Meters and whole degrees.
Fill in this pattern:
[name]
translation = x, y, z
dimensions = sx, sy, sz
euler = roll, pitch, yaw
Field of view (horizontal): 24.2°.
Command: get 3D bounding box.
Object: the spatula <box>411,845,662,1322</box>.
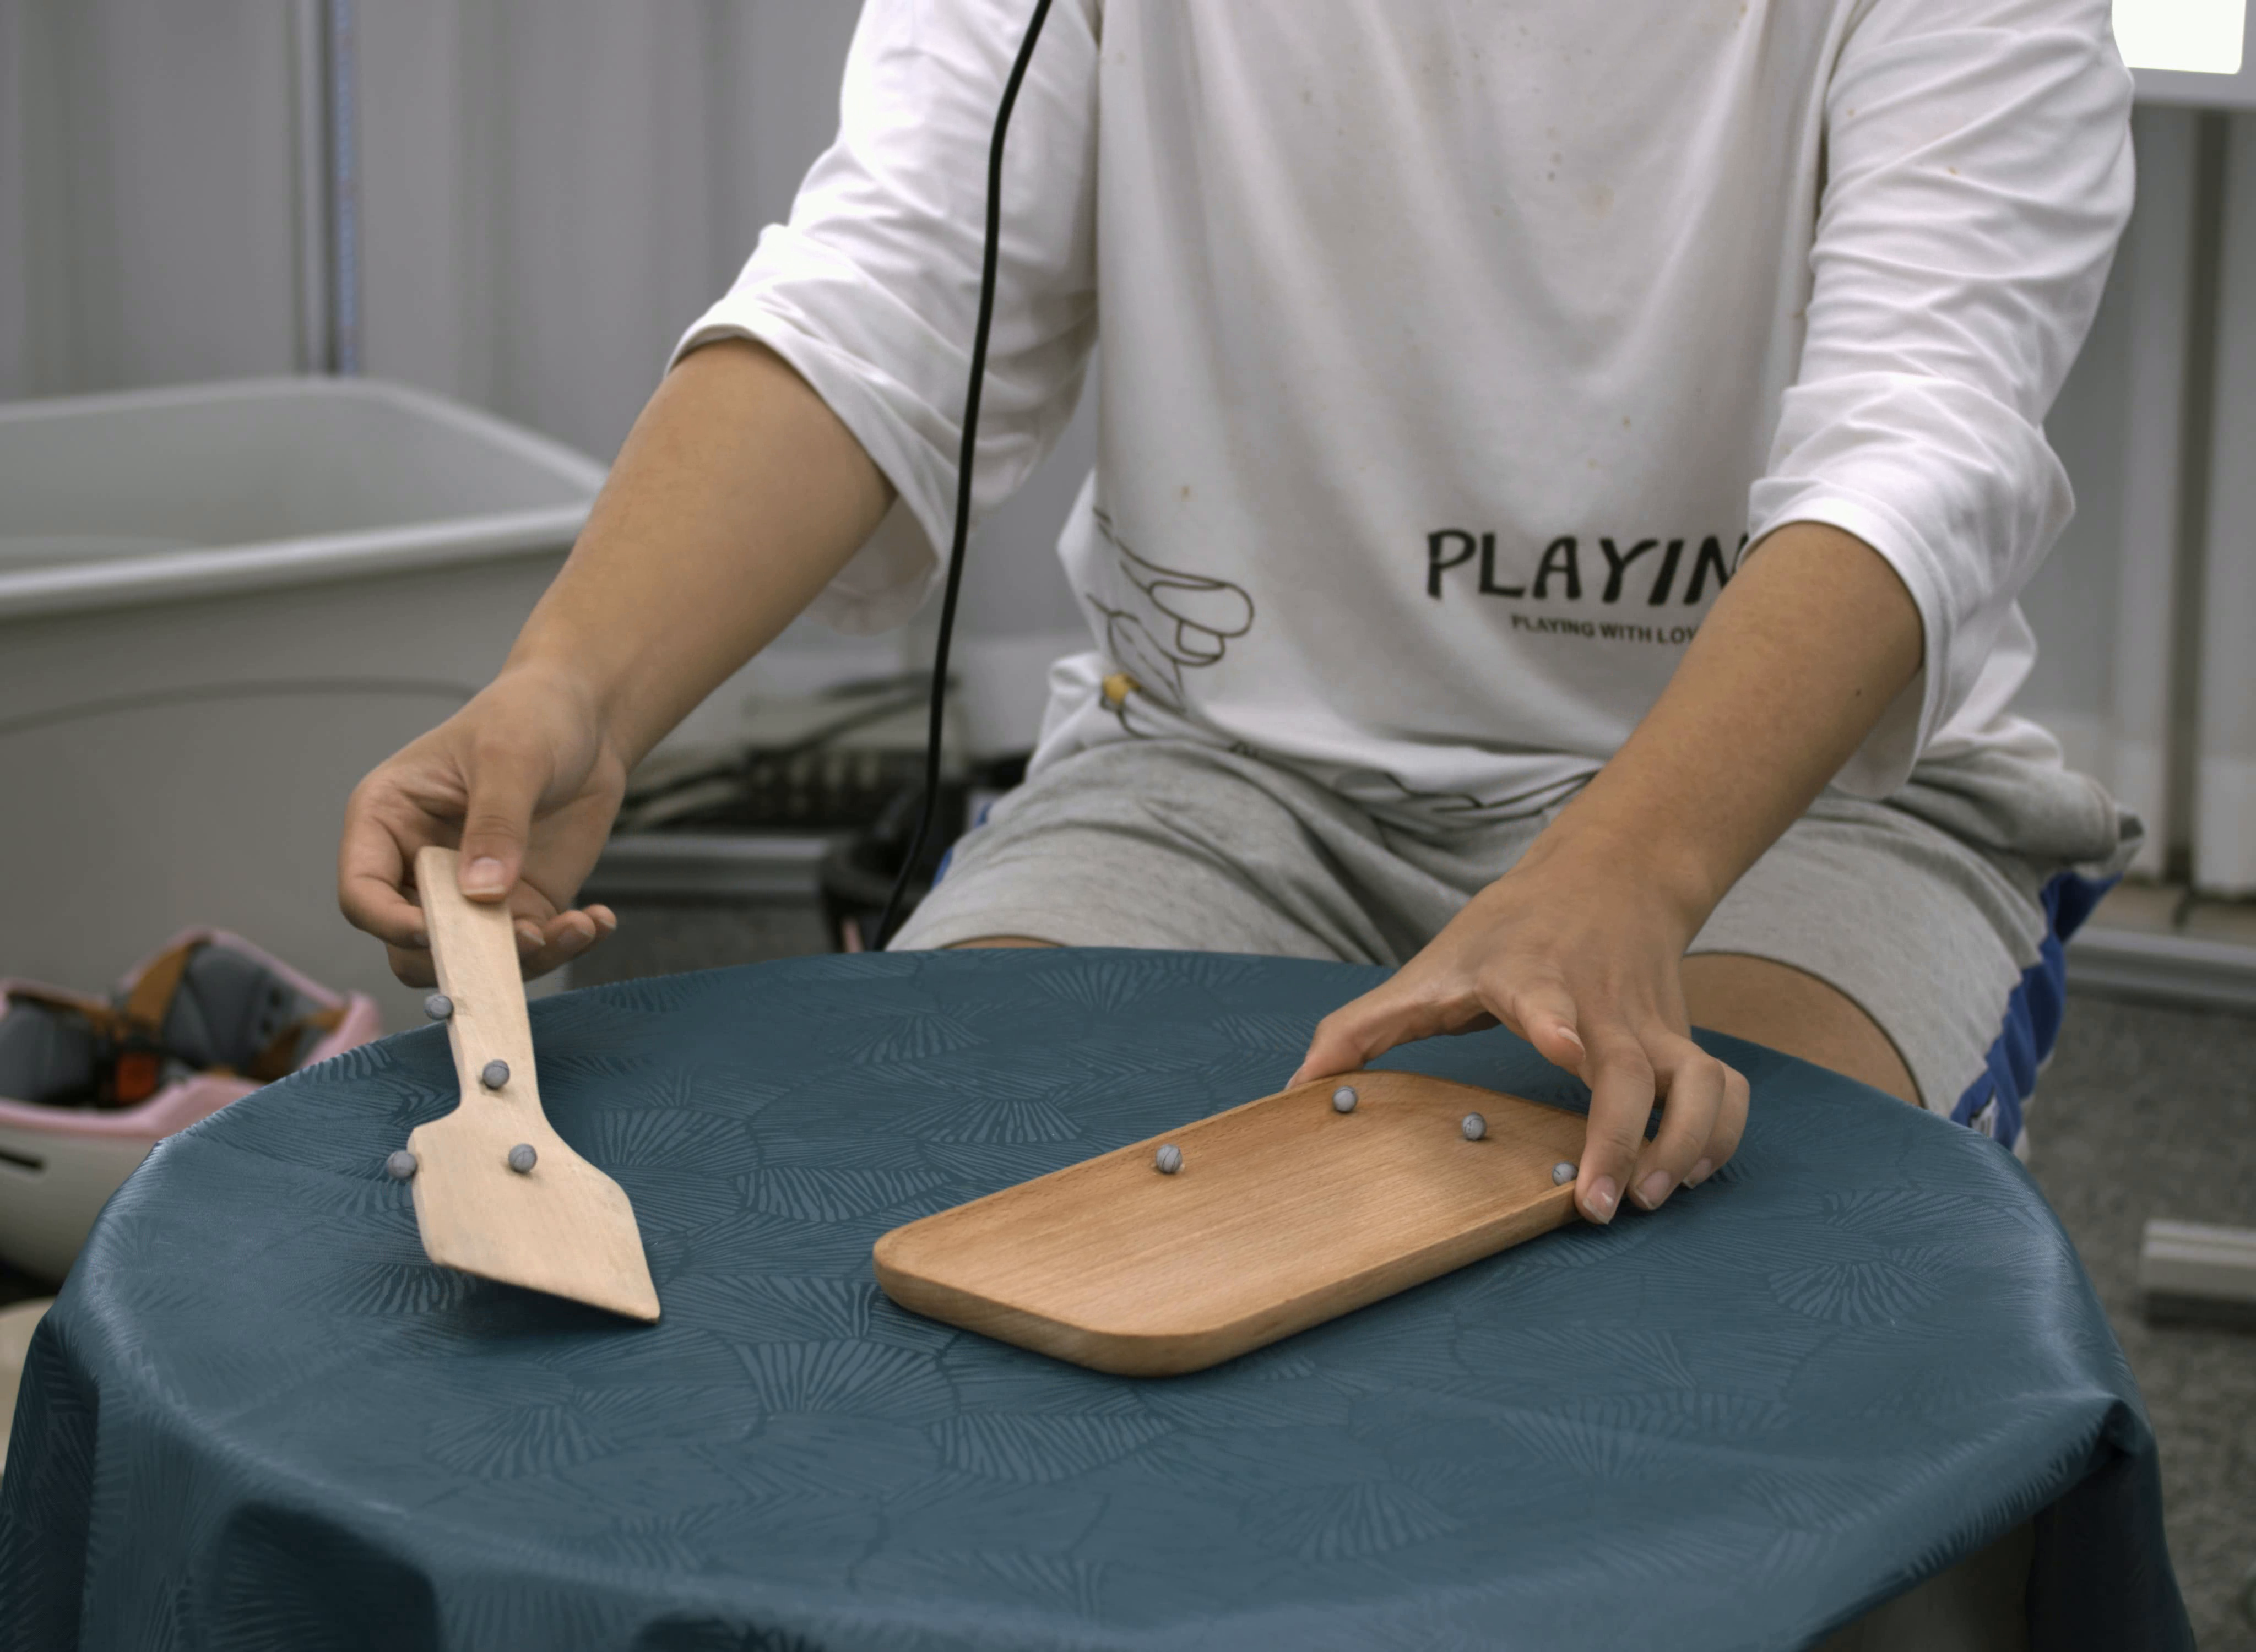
[spatula]
translation = -0.193, 0.072, 1.626
dimensions = 0.072, 0.011, 0.290
euler = 15, 22, -19

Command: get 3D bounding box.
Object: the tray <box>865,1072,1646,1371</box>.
[tray]
translation = 0.042, 0.117, 1.584
dimensions = 0.129, 0.023, 0.252
euler = 10, 18, 41
